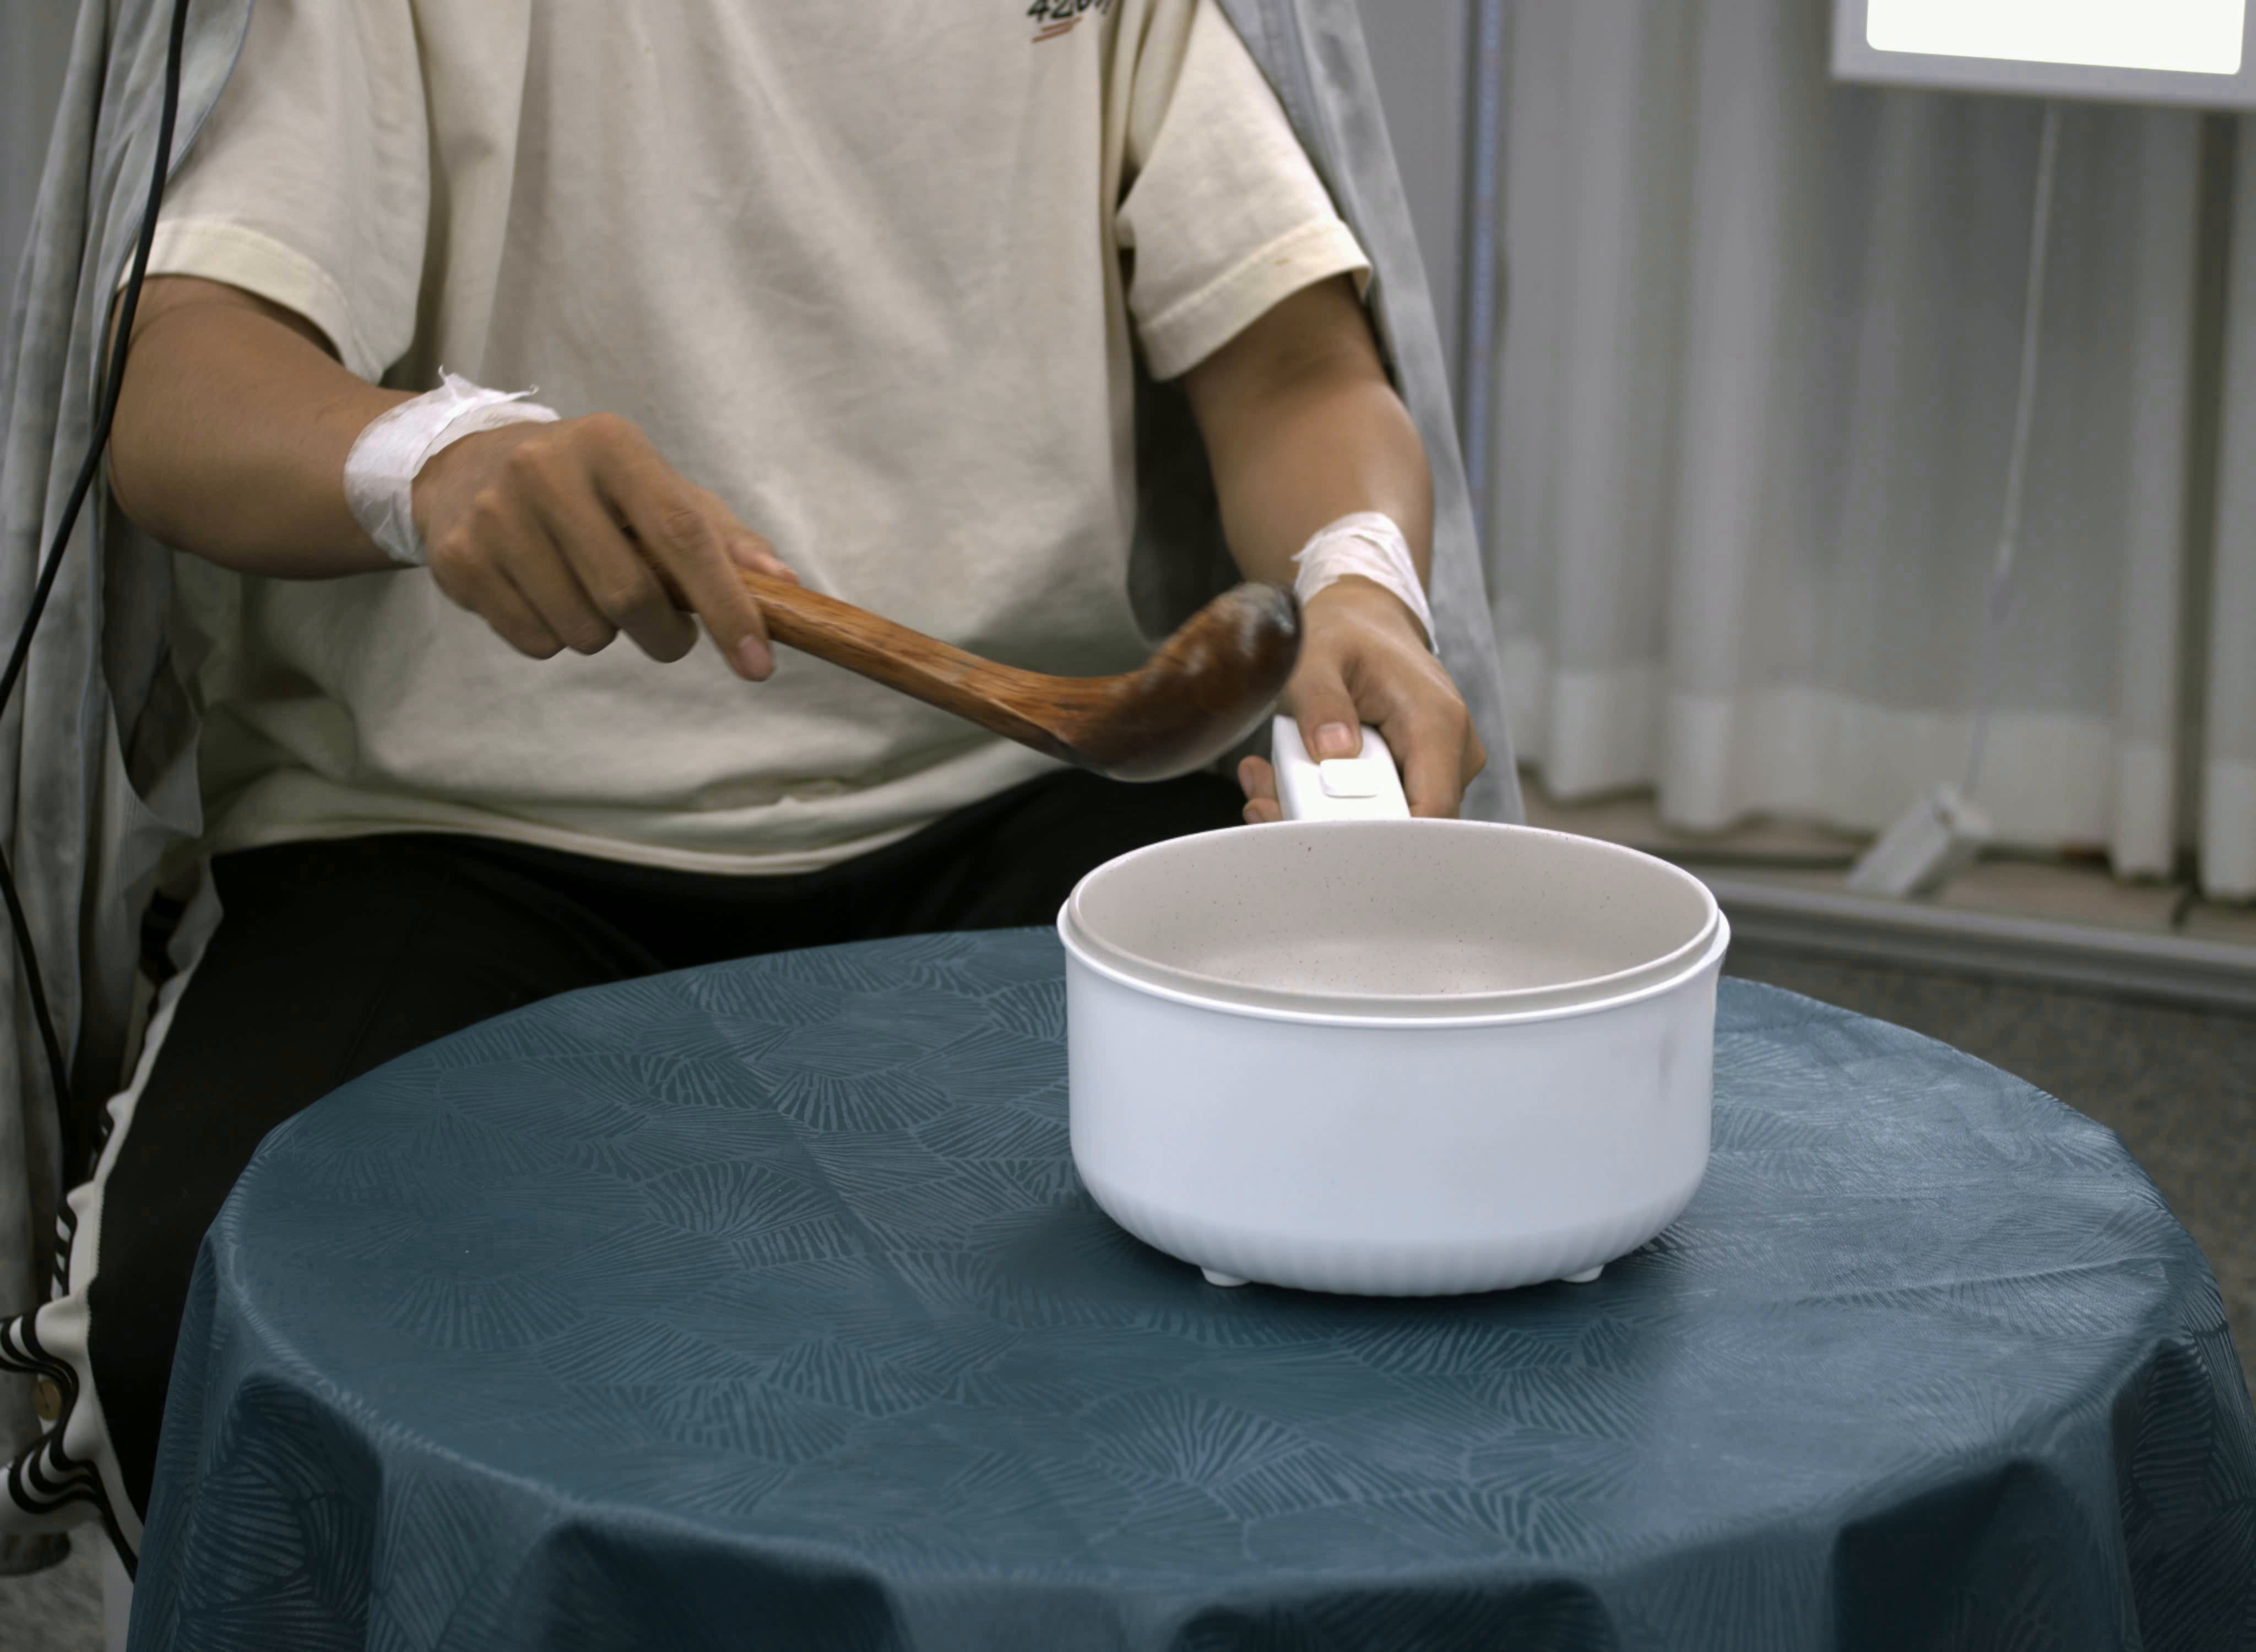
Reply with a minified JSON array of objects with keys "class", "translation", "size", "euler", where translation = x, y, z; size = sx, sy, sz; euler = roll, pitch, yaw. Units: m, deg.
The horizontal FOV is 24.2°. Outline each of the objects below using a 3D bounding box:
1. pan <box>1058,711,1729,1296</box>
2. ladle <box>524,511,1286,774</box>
[{"class":"pan","translation":[0.077,0.051,1.662],"size":[0.201,0.103,0.353],"euler":[-1,15,-2]},{"class":"ladle","translation":[-0.074,-0.077,1.555],"size":[0.270,0.077,0.082],"euler":[22,30,30]}]
